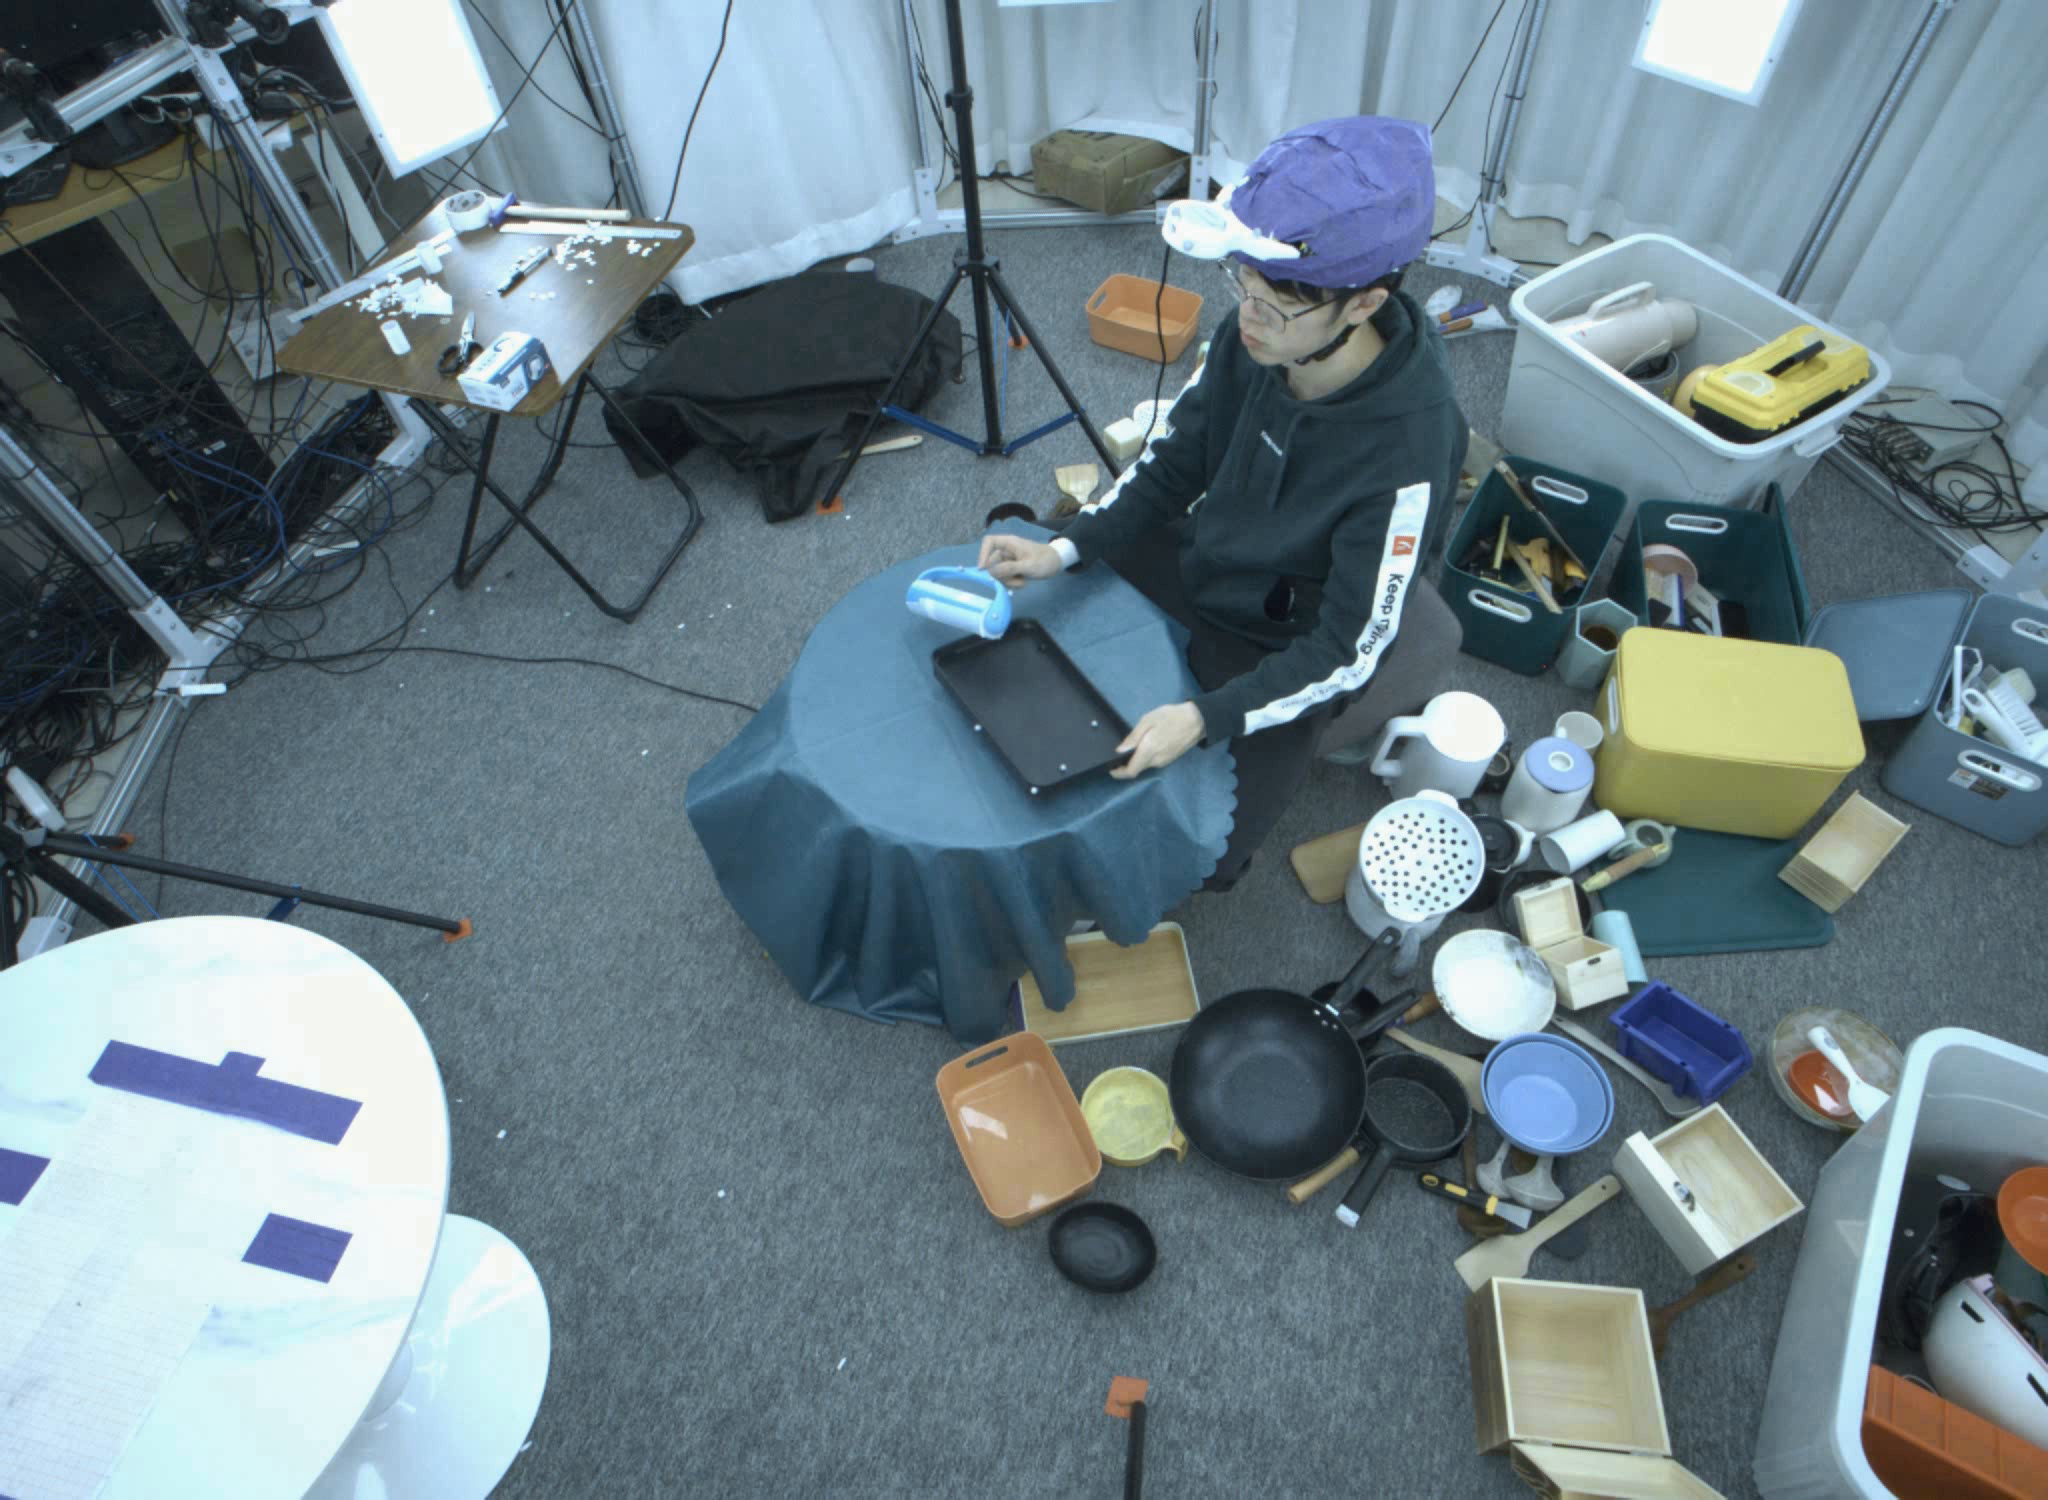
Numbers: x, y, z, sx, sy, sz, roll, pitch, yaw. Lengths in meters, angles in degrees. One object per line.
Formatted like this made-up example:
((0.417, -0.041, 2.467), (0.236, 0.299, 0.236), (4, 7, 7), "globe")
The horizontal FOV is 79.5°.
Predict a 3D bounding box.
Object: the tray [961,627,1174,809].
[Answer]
((0.057, -0.053, 1.762), (0.186, 0.037, 0.311), (-21, 51, -23), "tray")

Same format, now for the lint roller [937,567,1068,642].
((-0.012, -0.241, 1.846), (0.182, 0.069, 0.223), (-38, 37, -26), "lint roller")
